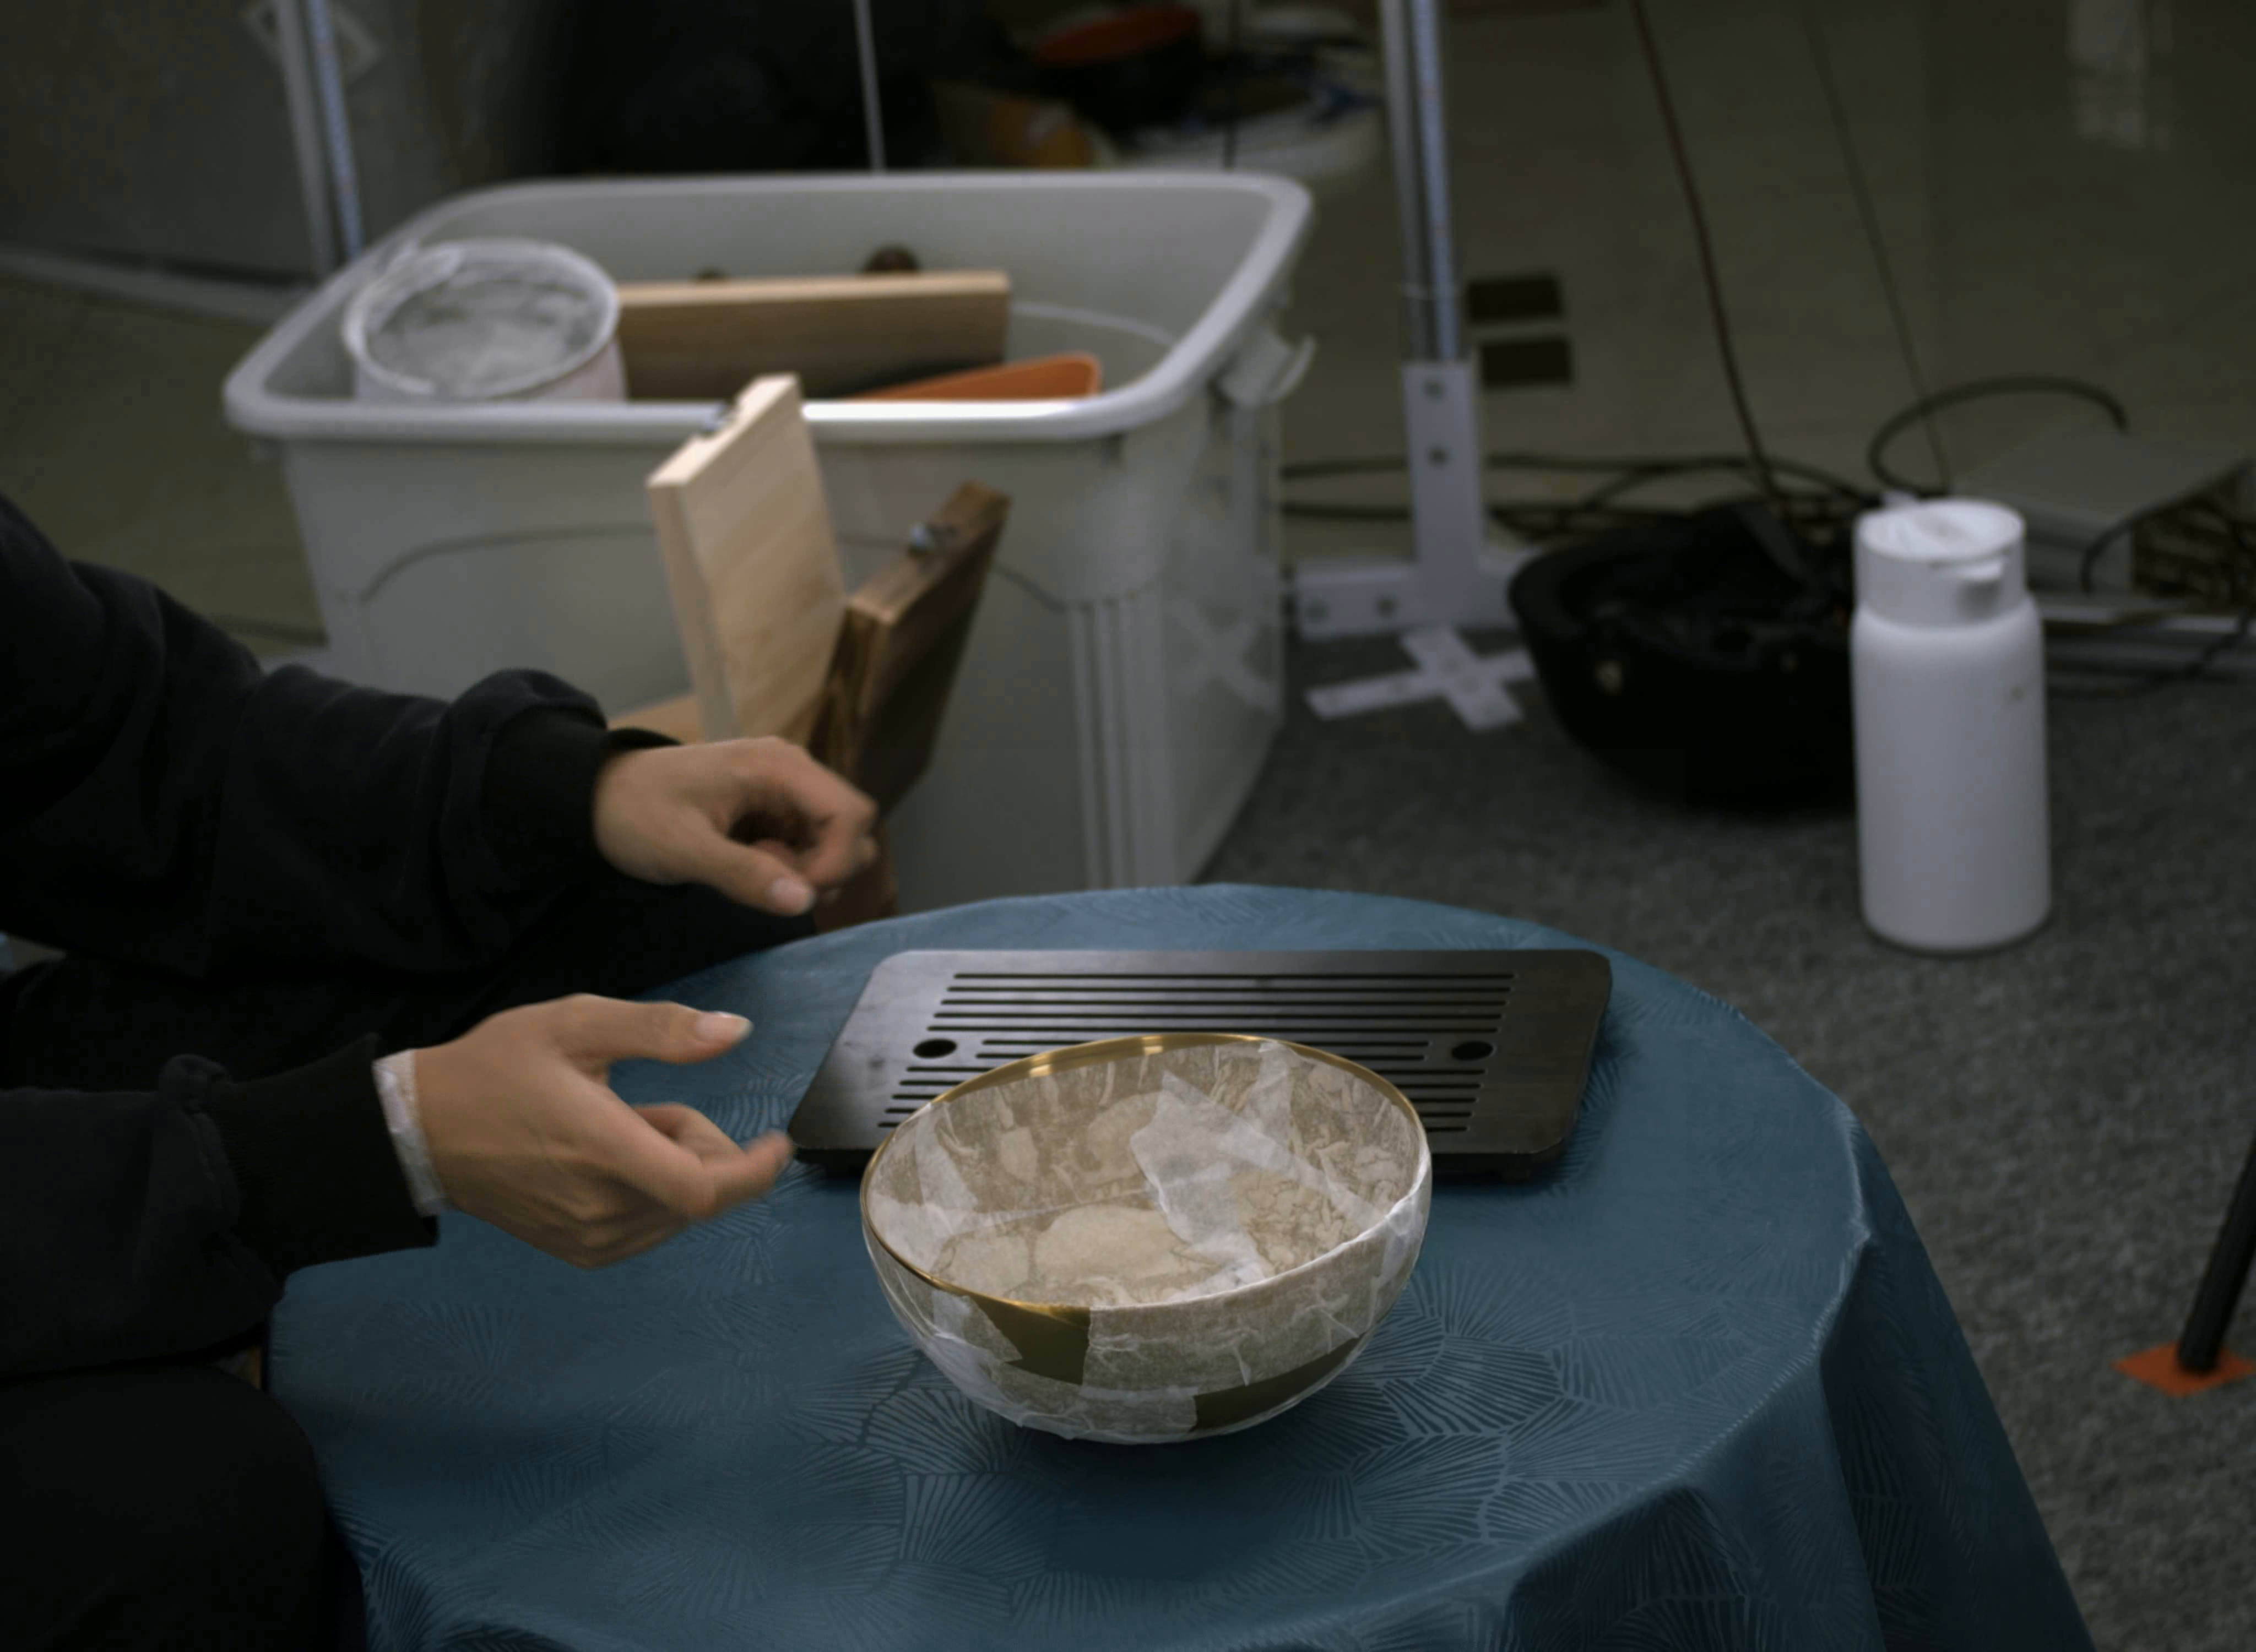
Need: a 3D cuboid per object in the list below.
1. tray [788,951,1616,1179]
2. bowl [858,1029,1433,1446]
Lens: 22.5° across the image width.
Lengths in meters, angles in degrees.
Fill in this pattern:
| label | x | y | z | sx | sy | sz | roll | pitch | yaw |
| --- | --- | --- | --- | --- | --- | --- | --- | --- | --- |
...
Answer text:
| label | x | y | z | sx | sy | sz | roll | pitch | yaw |
| --- | --- | --- | --- | --- | --- | --- | --- | --- | --- |
| tray | 0.031 | 0.093 | 2.223 | 0.305 | 0.019 | 0.167 | 0 | 26 | 13 |
| bowl | 0.009 | 0.156 | 2.002 | 0.214 | 0.096 | 0.211 | -6 | 26 | 3 |
